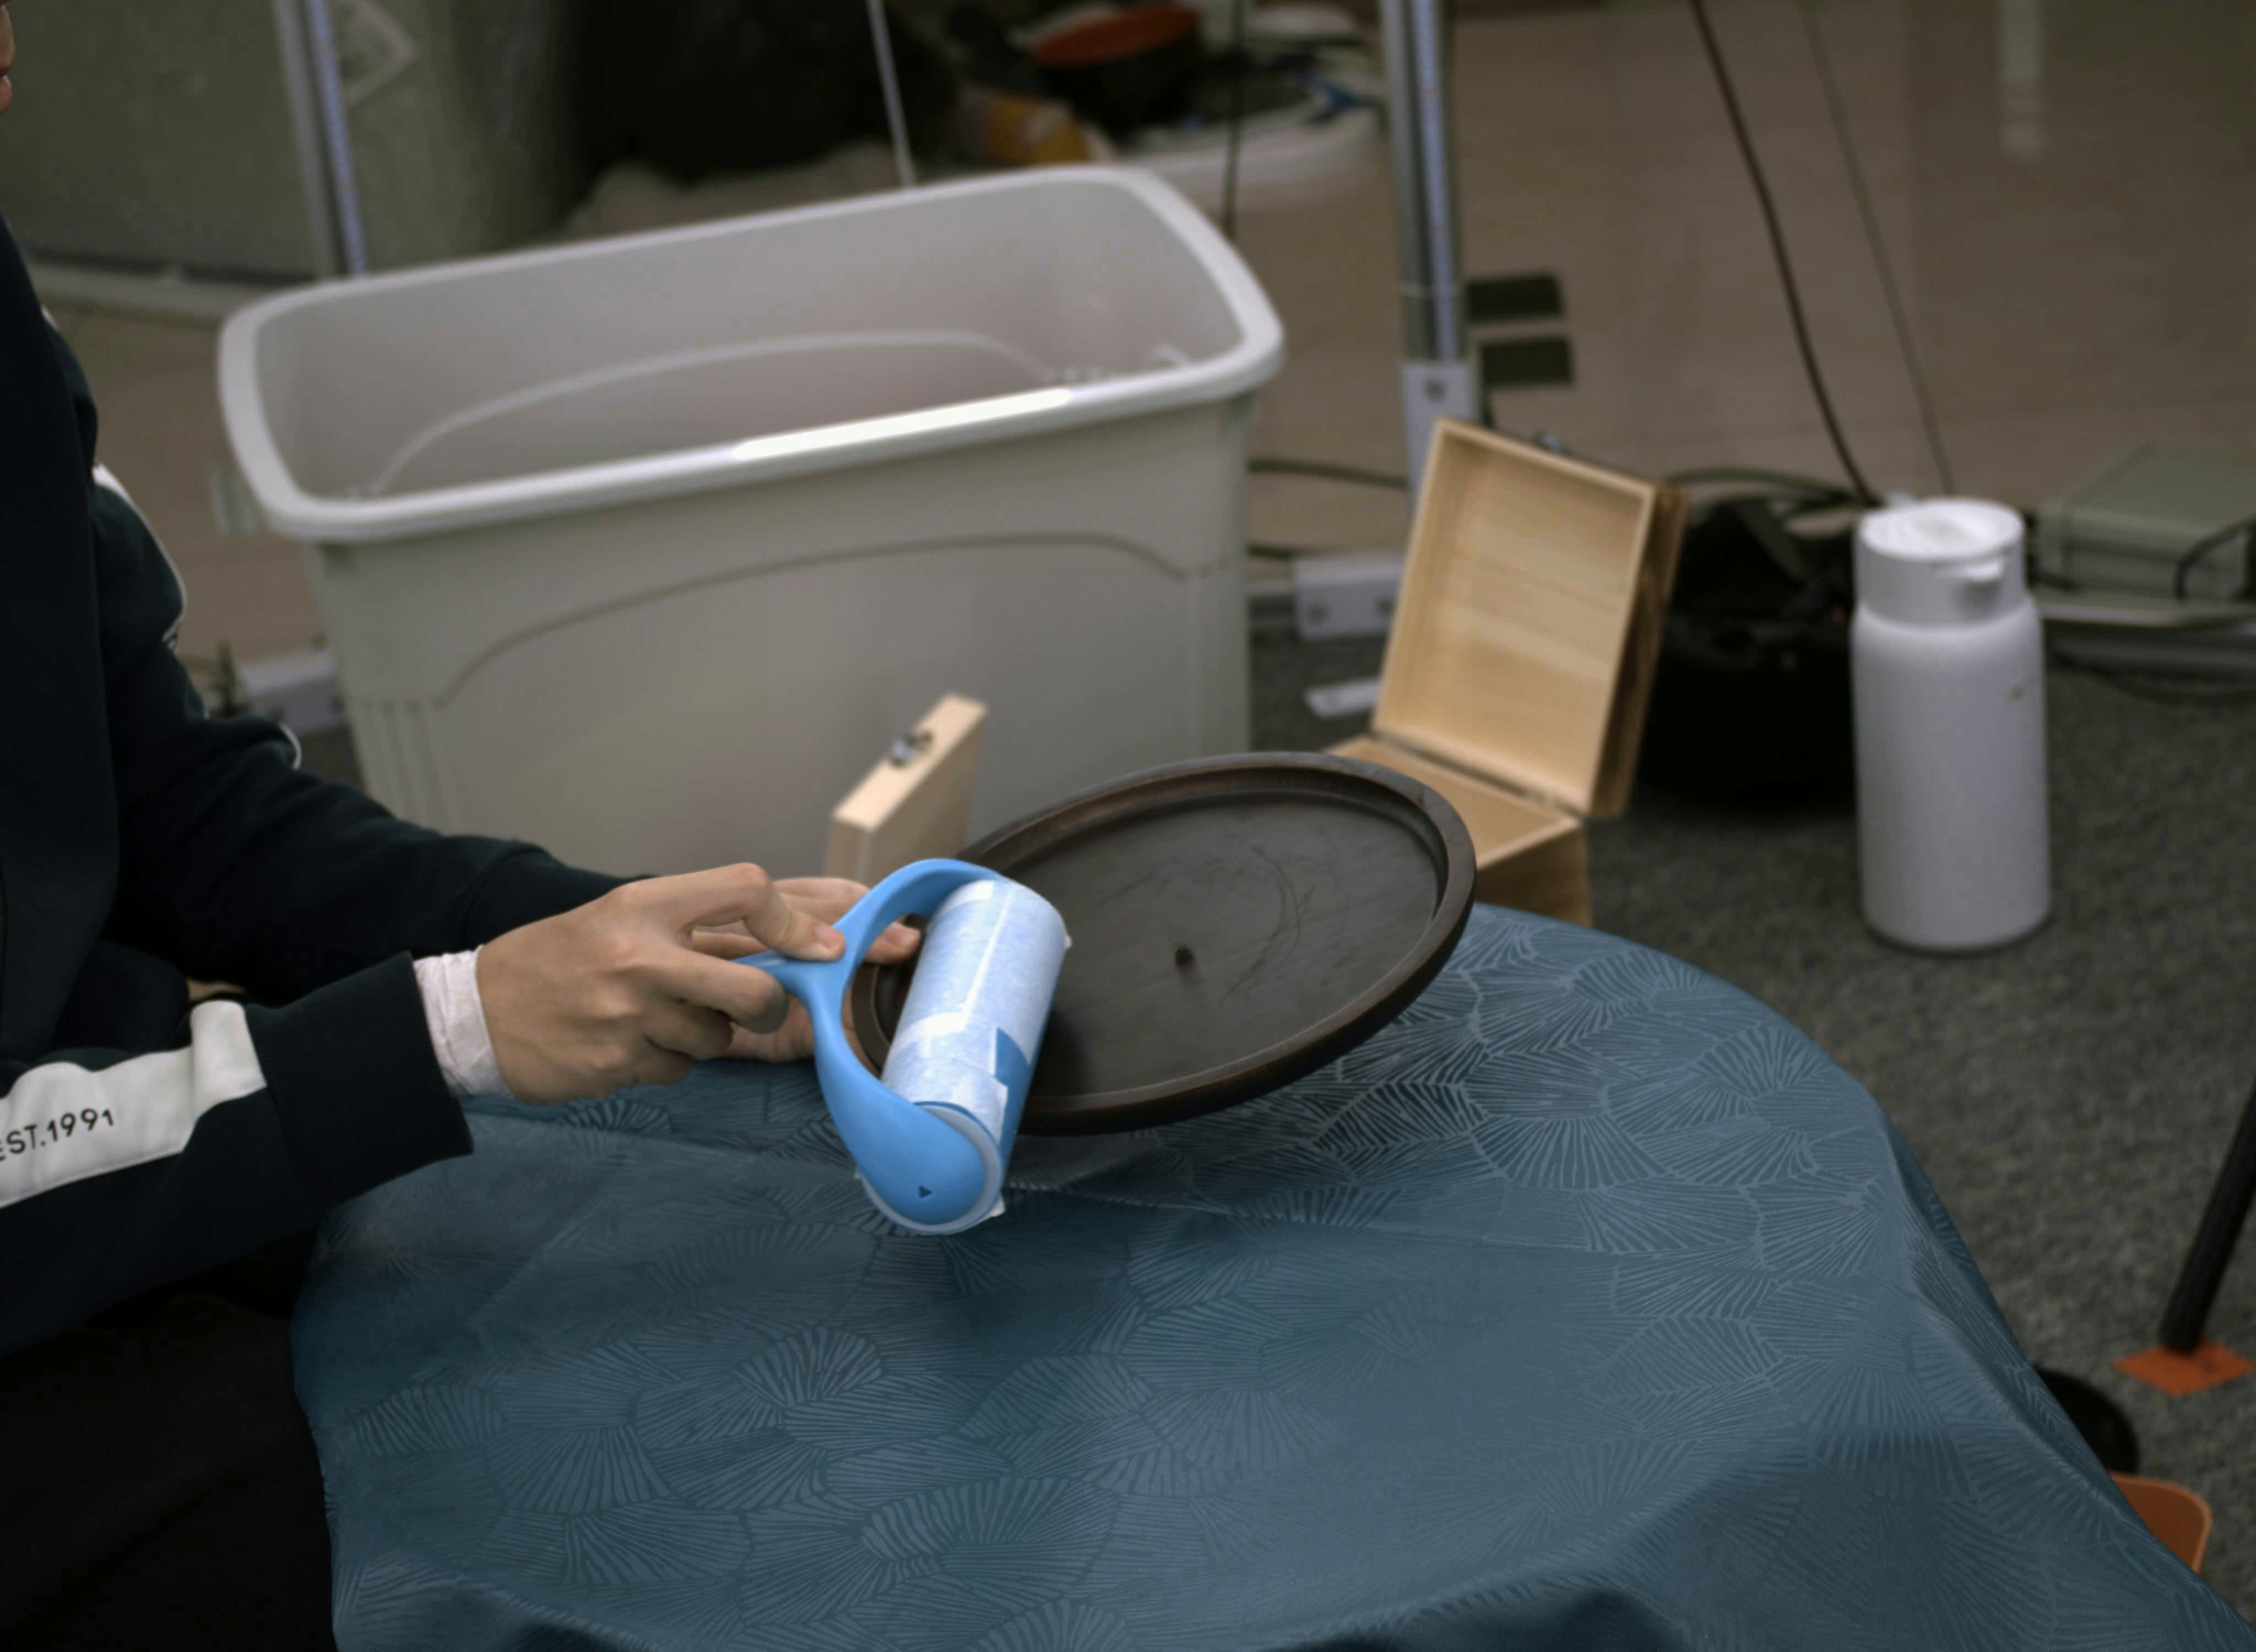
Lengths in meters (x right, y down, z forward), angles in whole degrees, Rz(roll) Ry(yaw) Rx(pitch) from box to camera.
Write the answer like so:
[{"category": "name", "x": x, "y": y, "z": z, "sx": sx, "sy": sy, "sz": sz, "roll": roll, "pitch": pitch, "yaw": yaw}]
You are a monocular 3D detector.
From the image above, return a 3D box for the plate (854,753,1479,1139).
[{"category": "plate", "x": 0.016, "y": 0.046, "z": 2.206, "sx": 0.254, "sy": 0.029, "sz": 0.251, "roll": -13, "pitch": 28, "yaw": 7}]

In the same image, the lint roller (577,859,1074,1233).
[{"category": "lint roller", "x": -0.116, "y": 0.078, "z": 2.105, "sx": 0.180, "sy": 0.069, "sz": 0.225, "roll": 4, "pitch": 26, "yaw": 2}]
